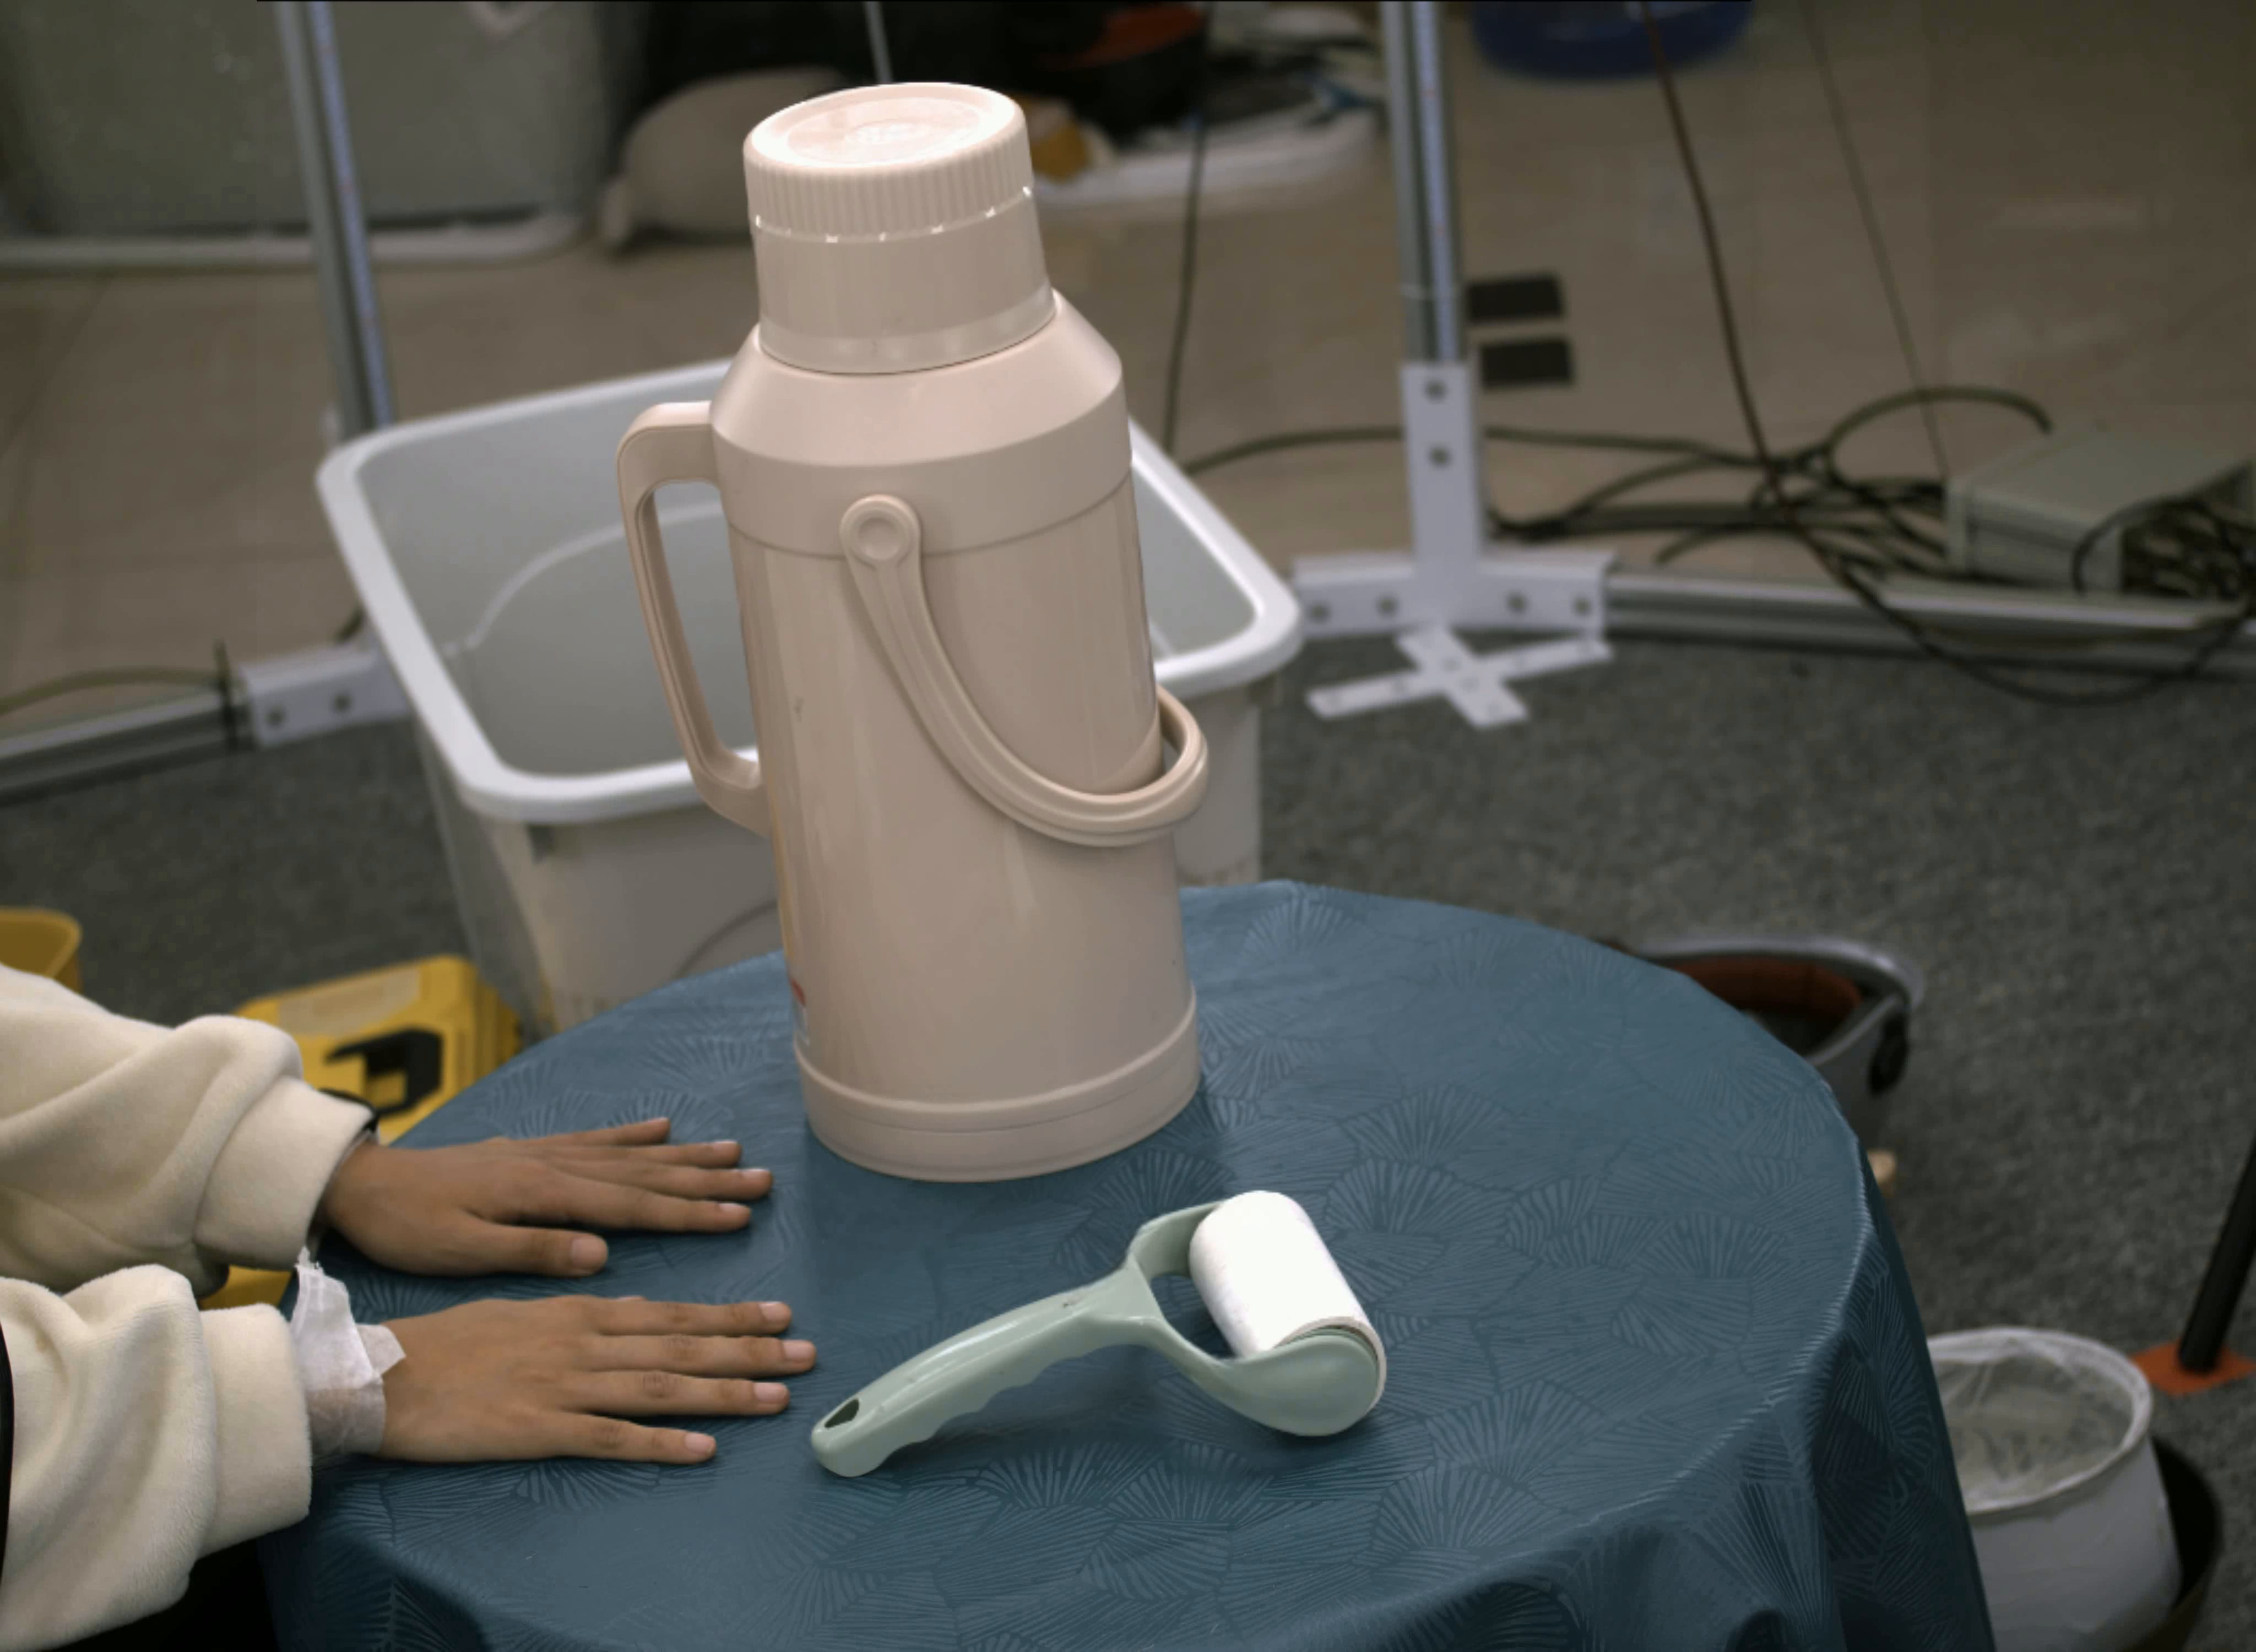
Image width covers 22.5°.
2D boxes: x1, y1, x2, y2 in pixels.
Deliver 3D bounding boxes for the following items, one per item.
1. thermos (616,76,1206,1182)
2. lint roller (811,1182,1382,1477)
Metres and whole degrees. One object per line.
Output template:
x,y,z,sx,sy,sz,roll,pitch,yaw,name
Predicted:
-0.082,-0.075,2.152,0.206,0.413,0.173,-2,27,10,thermos
-0.018,0.184,2.002,0.197,0.049,0.115,-11,28,-9,lint roller
